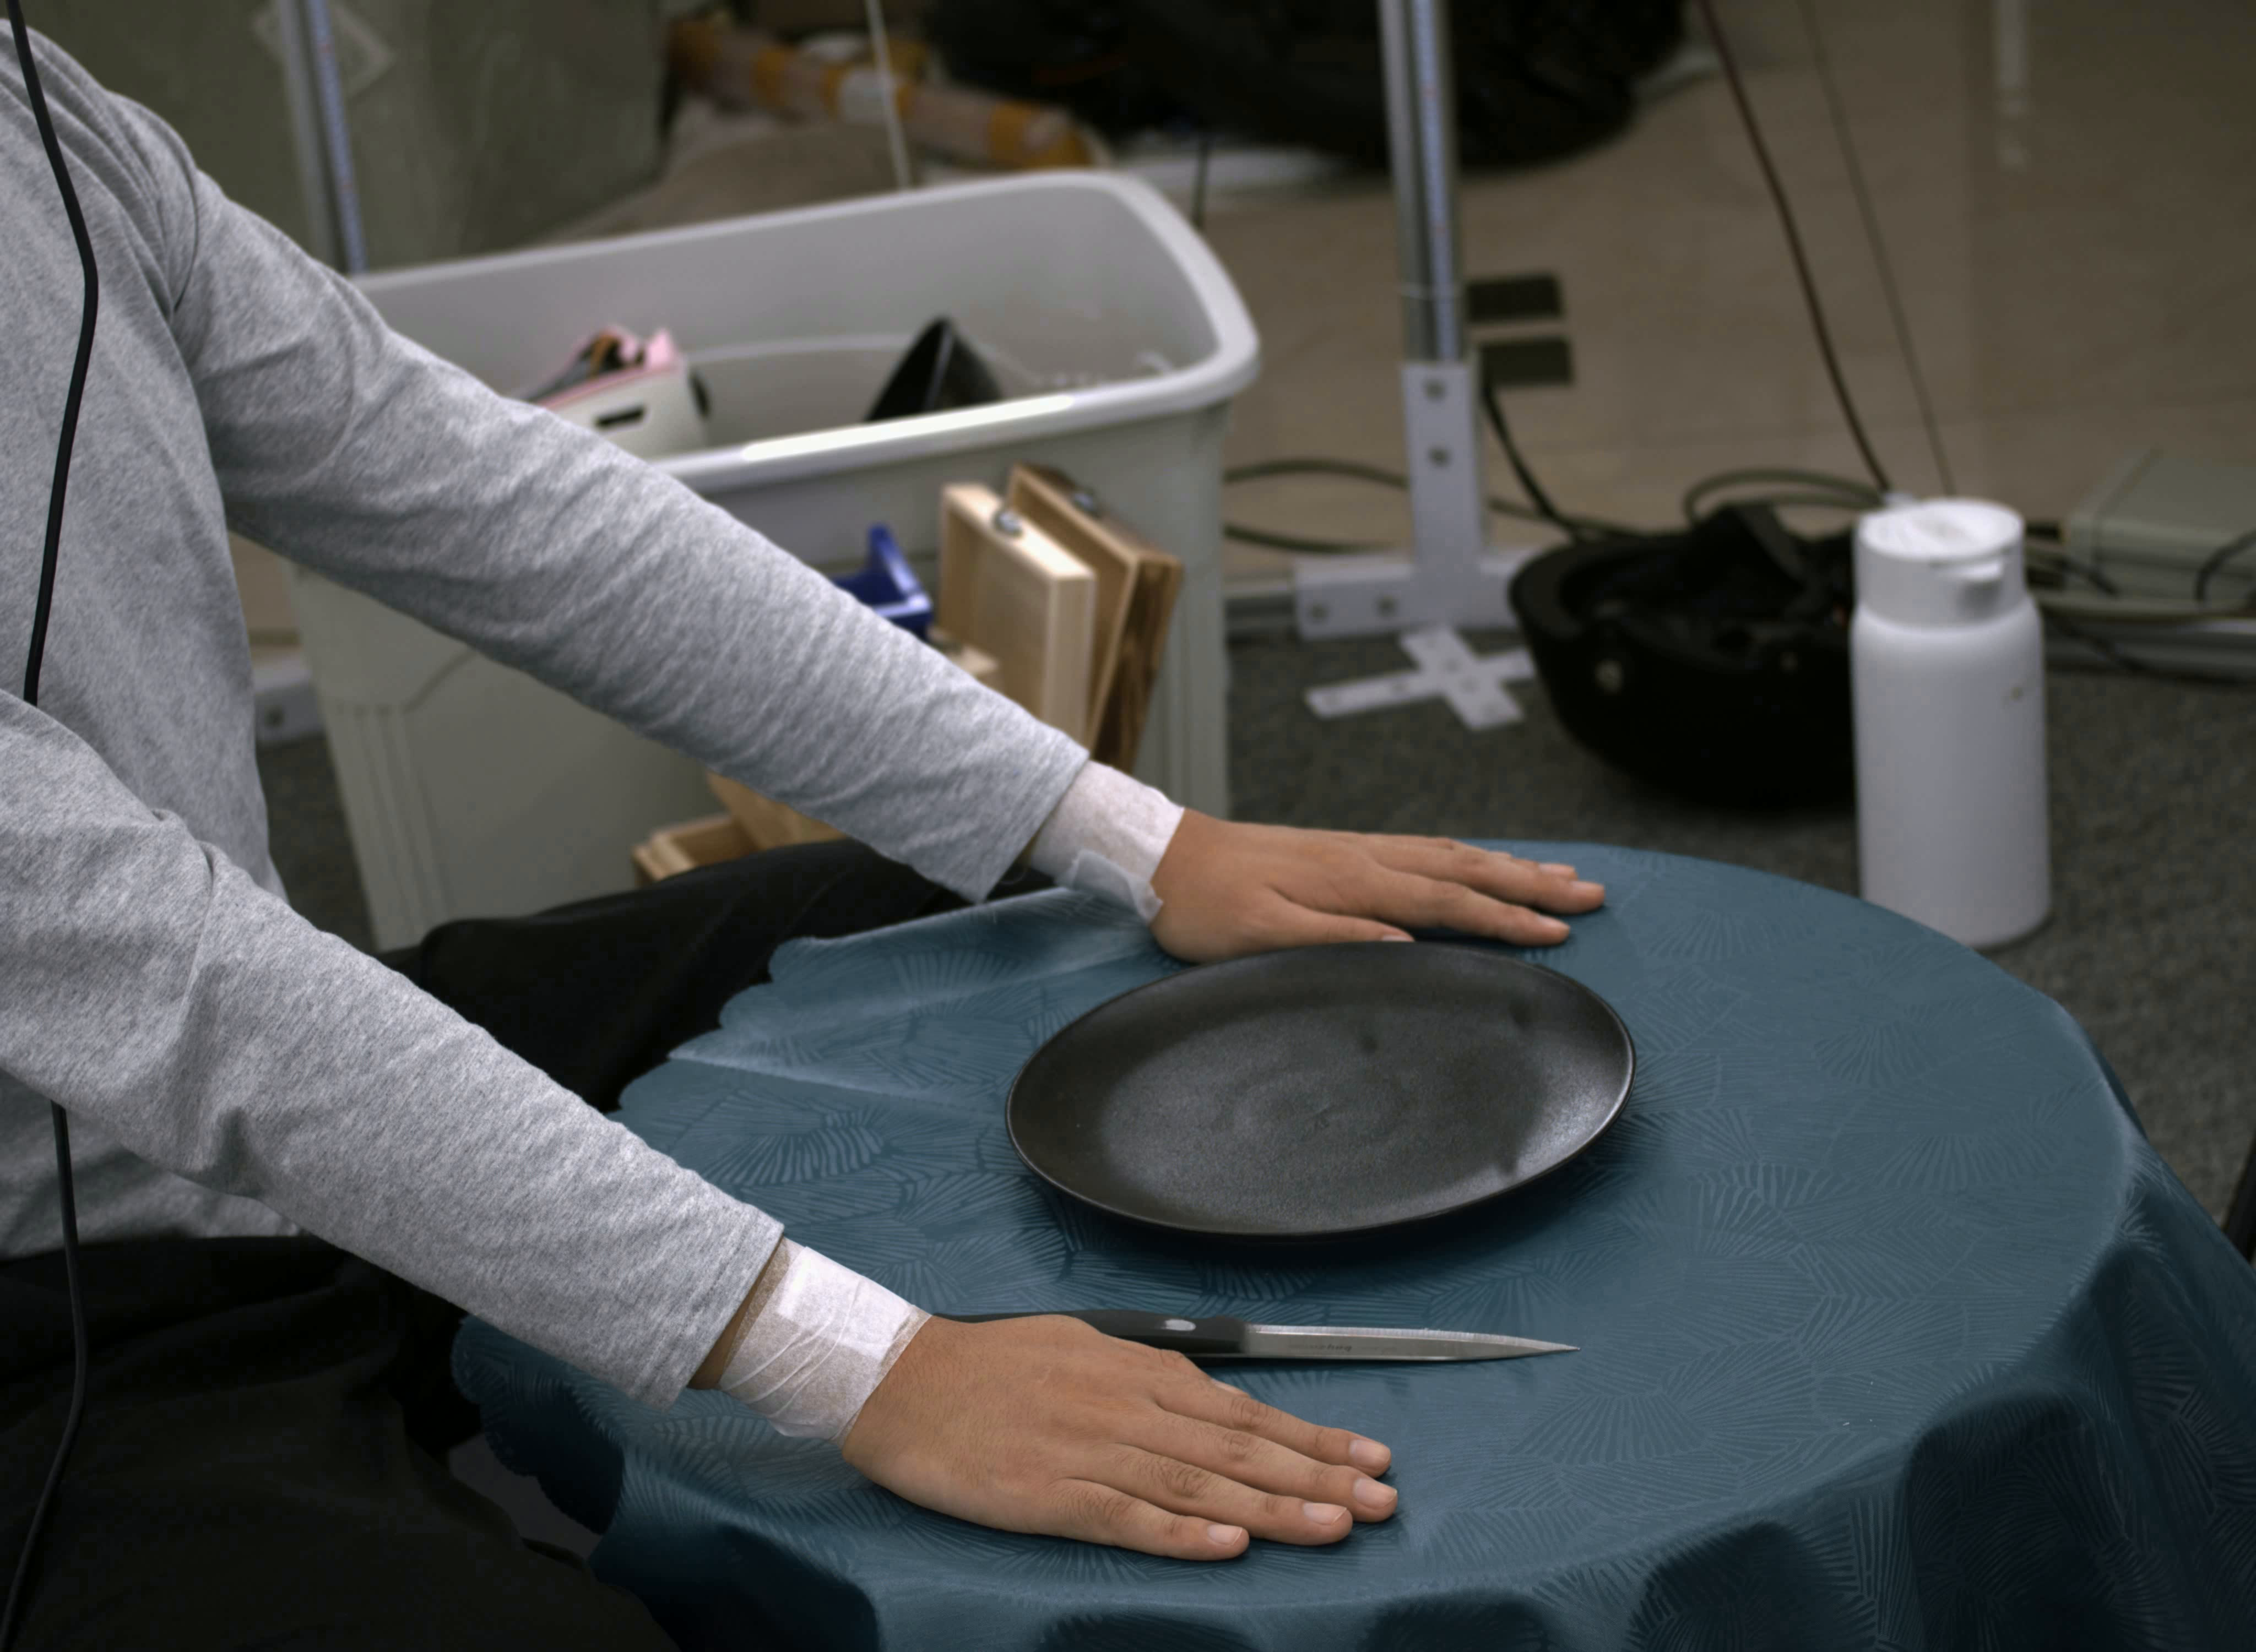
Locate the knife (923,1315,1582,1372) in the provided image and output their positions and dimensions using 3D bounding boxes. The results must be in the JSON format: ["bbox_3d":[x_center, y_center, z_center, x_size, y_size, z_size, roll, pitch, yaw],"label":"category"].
[{"bbox_3d":[0.043,0.185,2.029,0.238,0.016,0.024,0,25,7],"label":"knife"}]

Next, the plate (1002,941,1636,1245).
[{"bbox_3d":[0.074,0.107,2.175,0.244,0.024,0.241,-5,25,3],"label":"plate"}]
